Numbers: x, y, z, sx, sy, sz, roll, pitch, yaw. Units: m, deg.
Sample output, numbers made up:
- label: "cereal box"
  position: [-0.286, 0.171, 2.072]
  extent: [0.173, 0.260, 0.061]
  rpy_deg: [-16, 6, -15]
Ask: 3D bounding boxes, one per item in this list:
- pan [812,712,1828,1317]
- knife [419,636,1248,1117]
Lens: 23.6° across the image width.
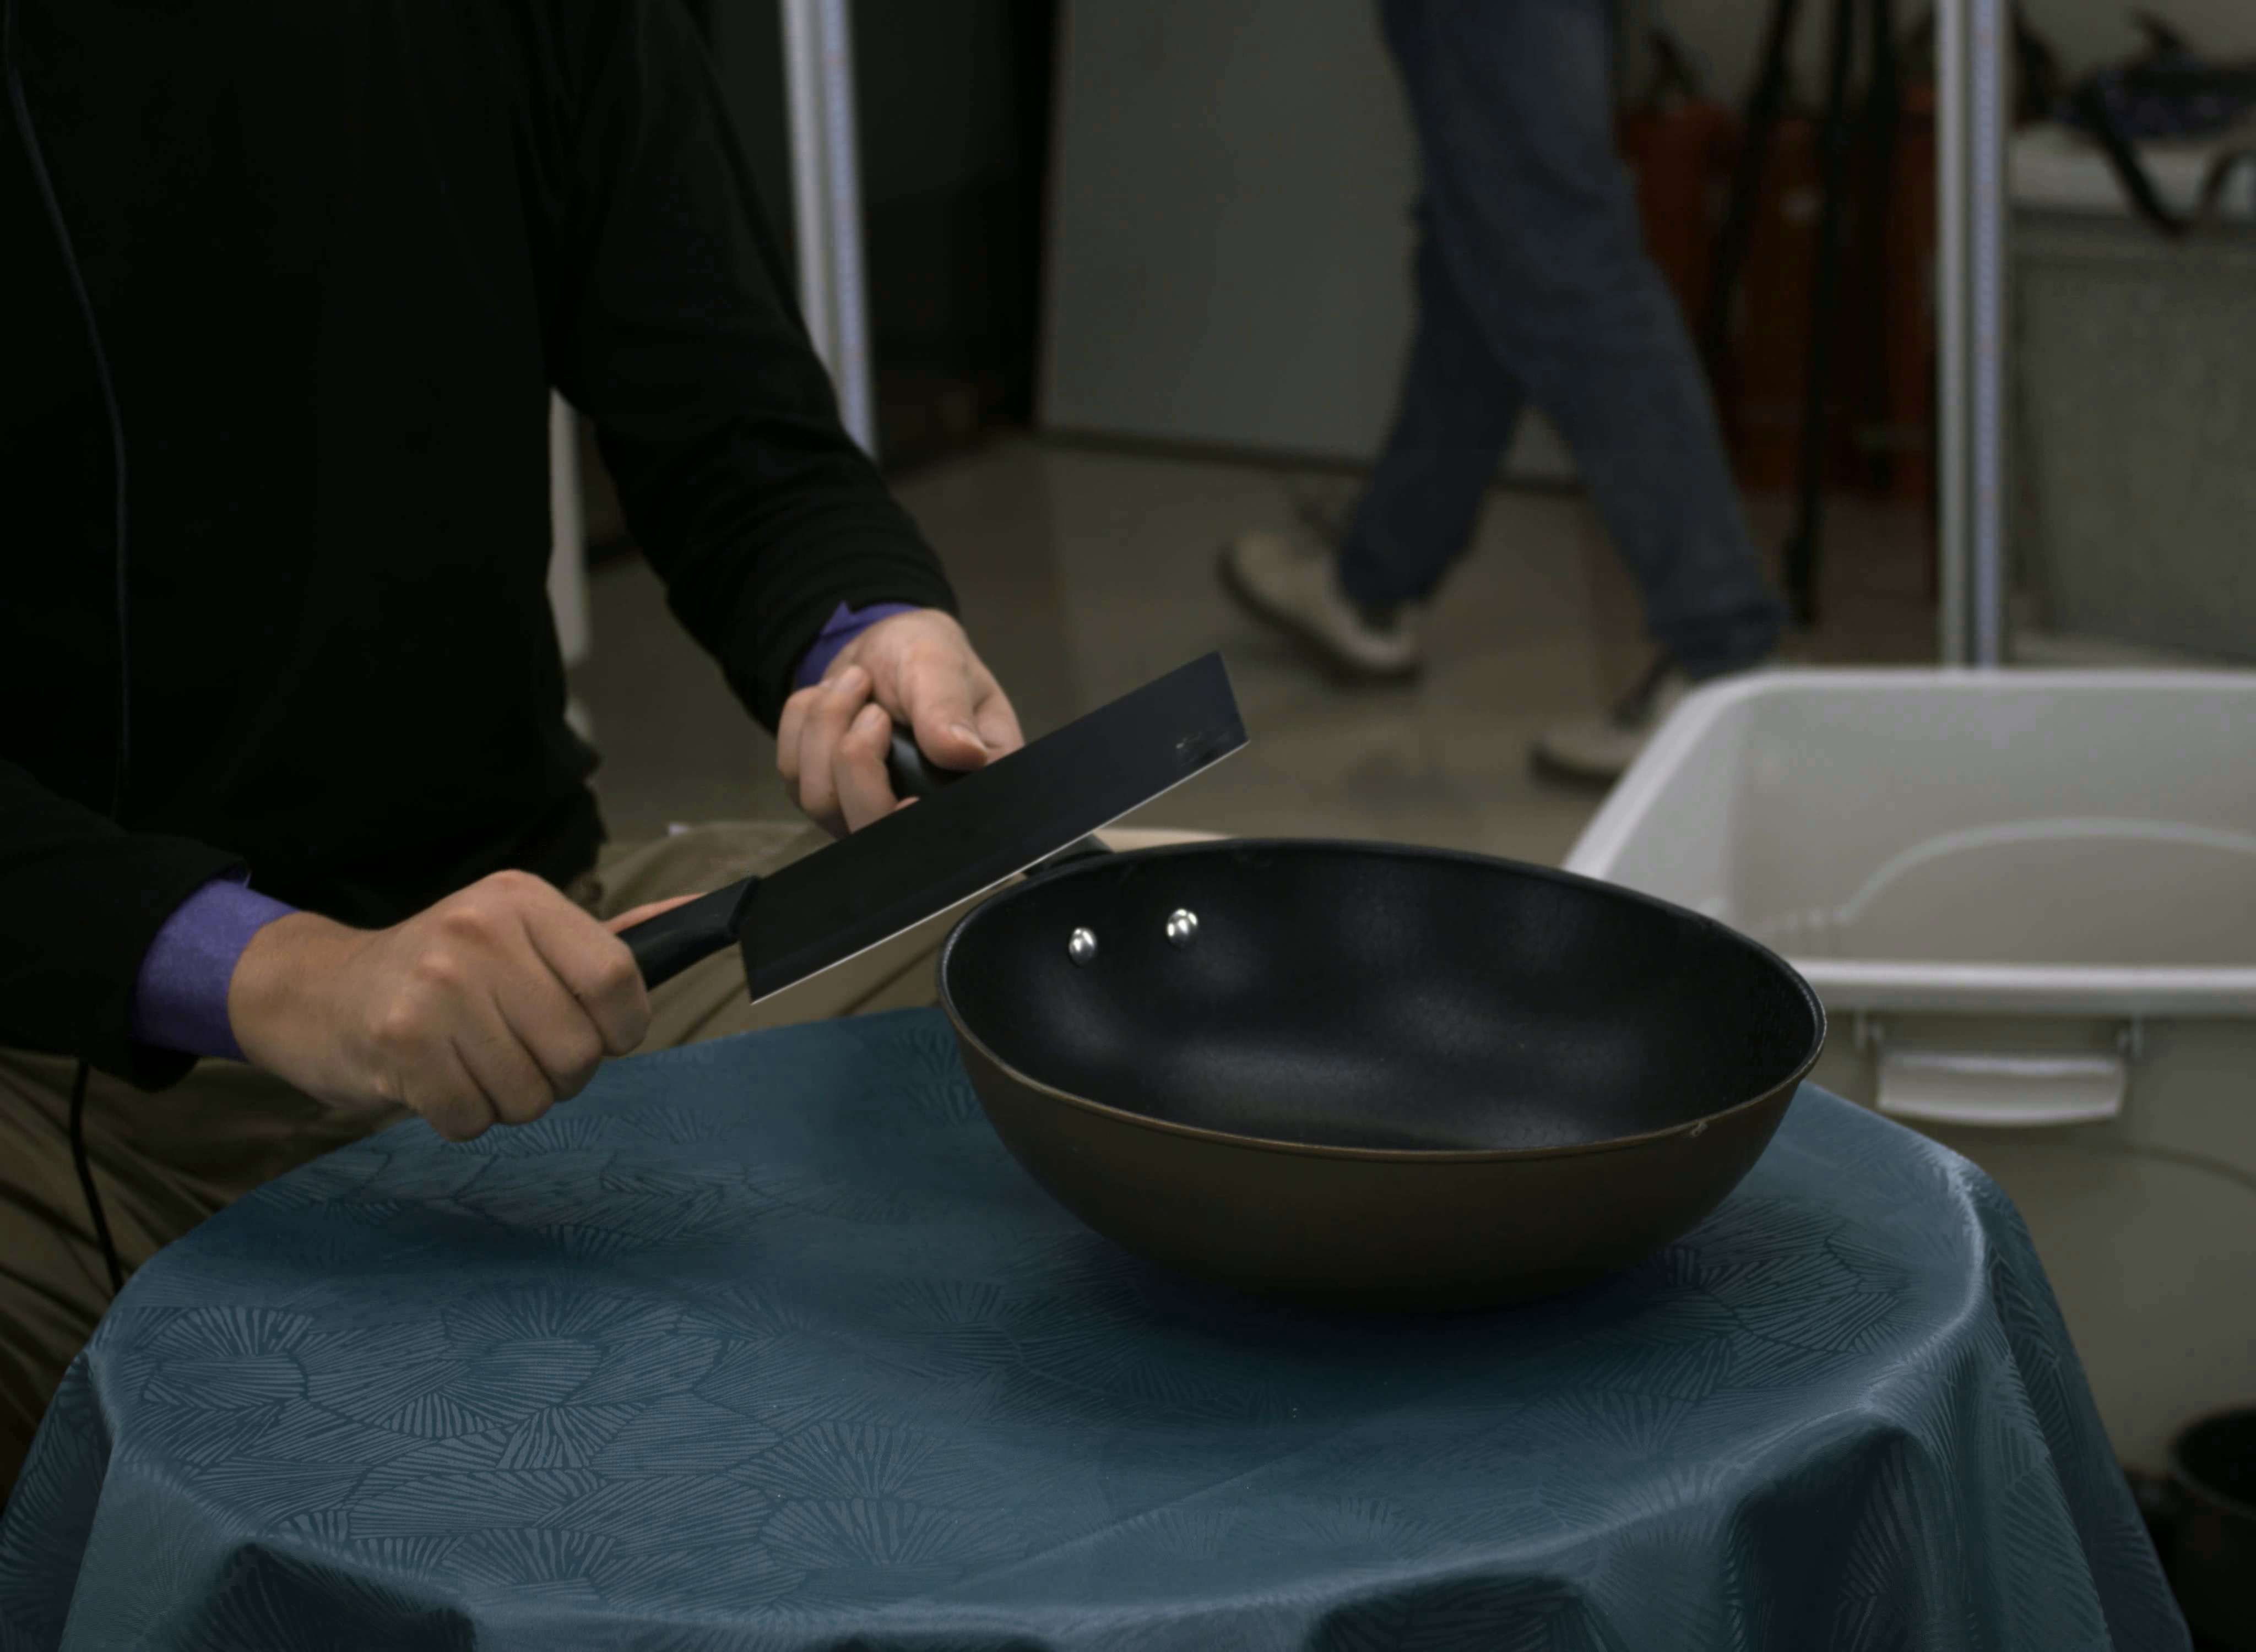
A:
- label: "pan"
  position: [0.023, 0.060, 1.756]
  extent: [0.281, 0.088, 0.468]
  rpy_deg: [-10, 22, -35]
- label: "knife"
  position: [-0.096, 0.021, 1.736]
  extent: [0.301, 0.021, 0.081]
  rpy_deg: [-26, 32, 12]
